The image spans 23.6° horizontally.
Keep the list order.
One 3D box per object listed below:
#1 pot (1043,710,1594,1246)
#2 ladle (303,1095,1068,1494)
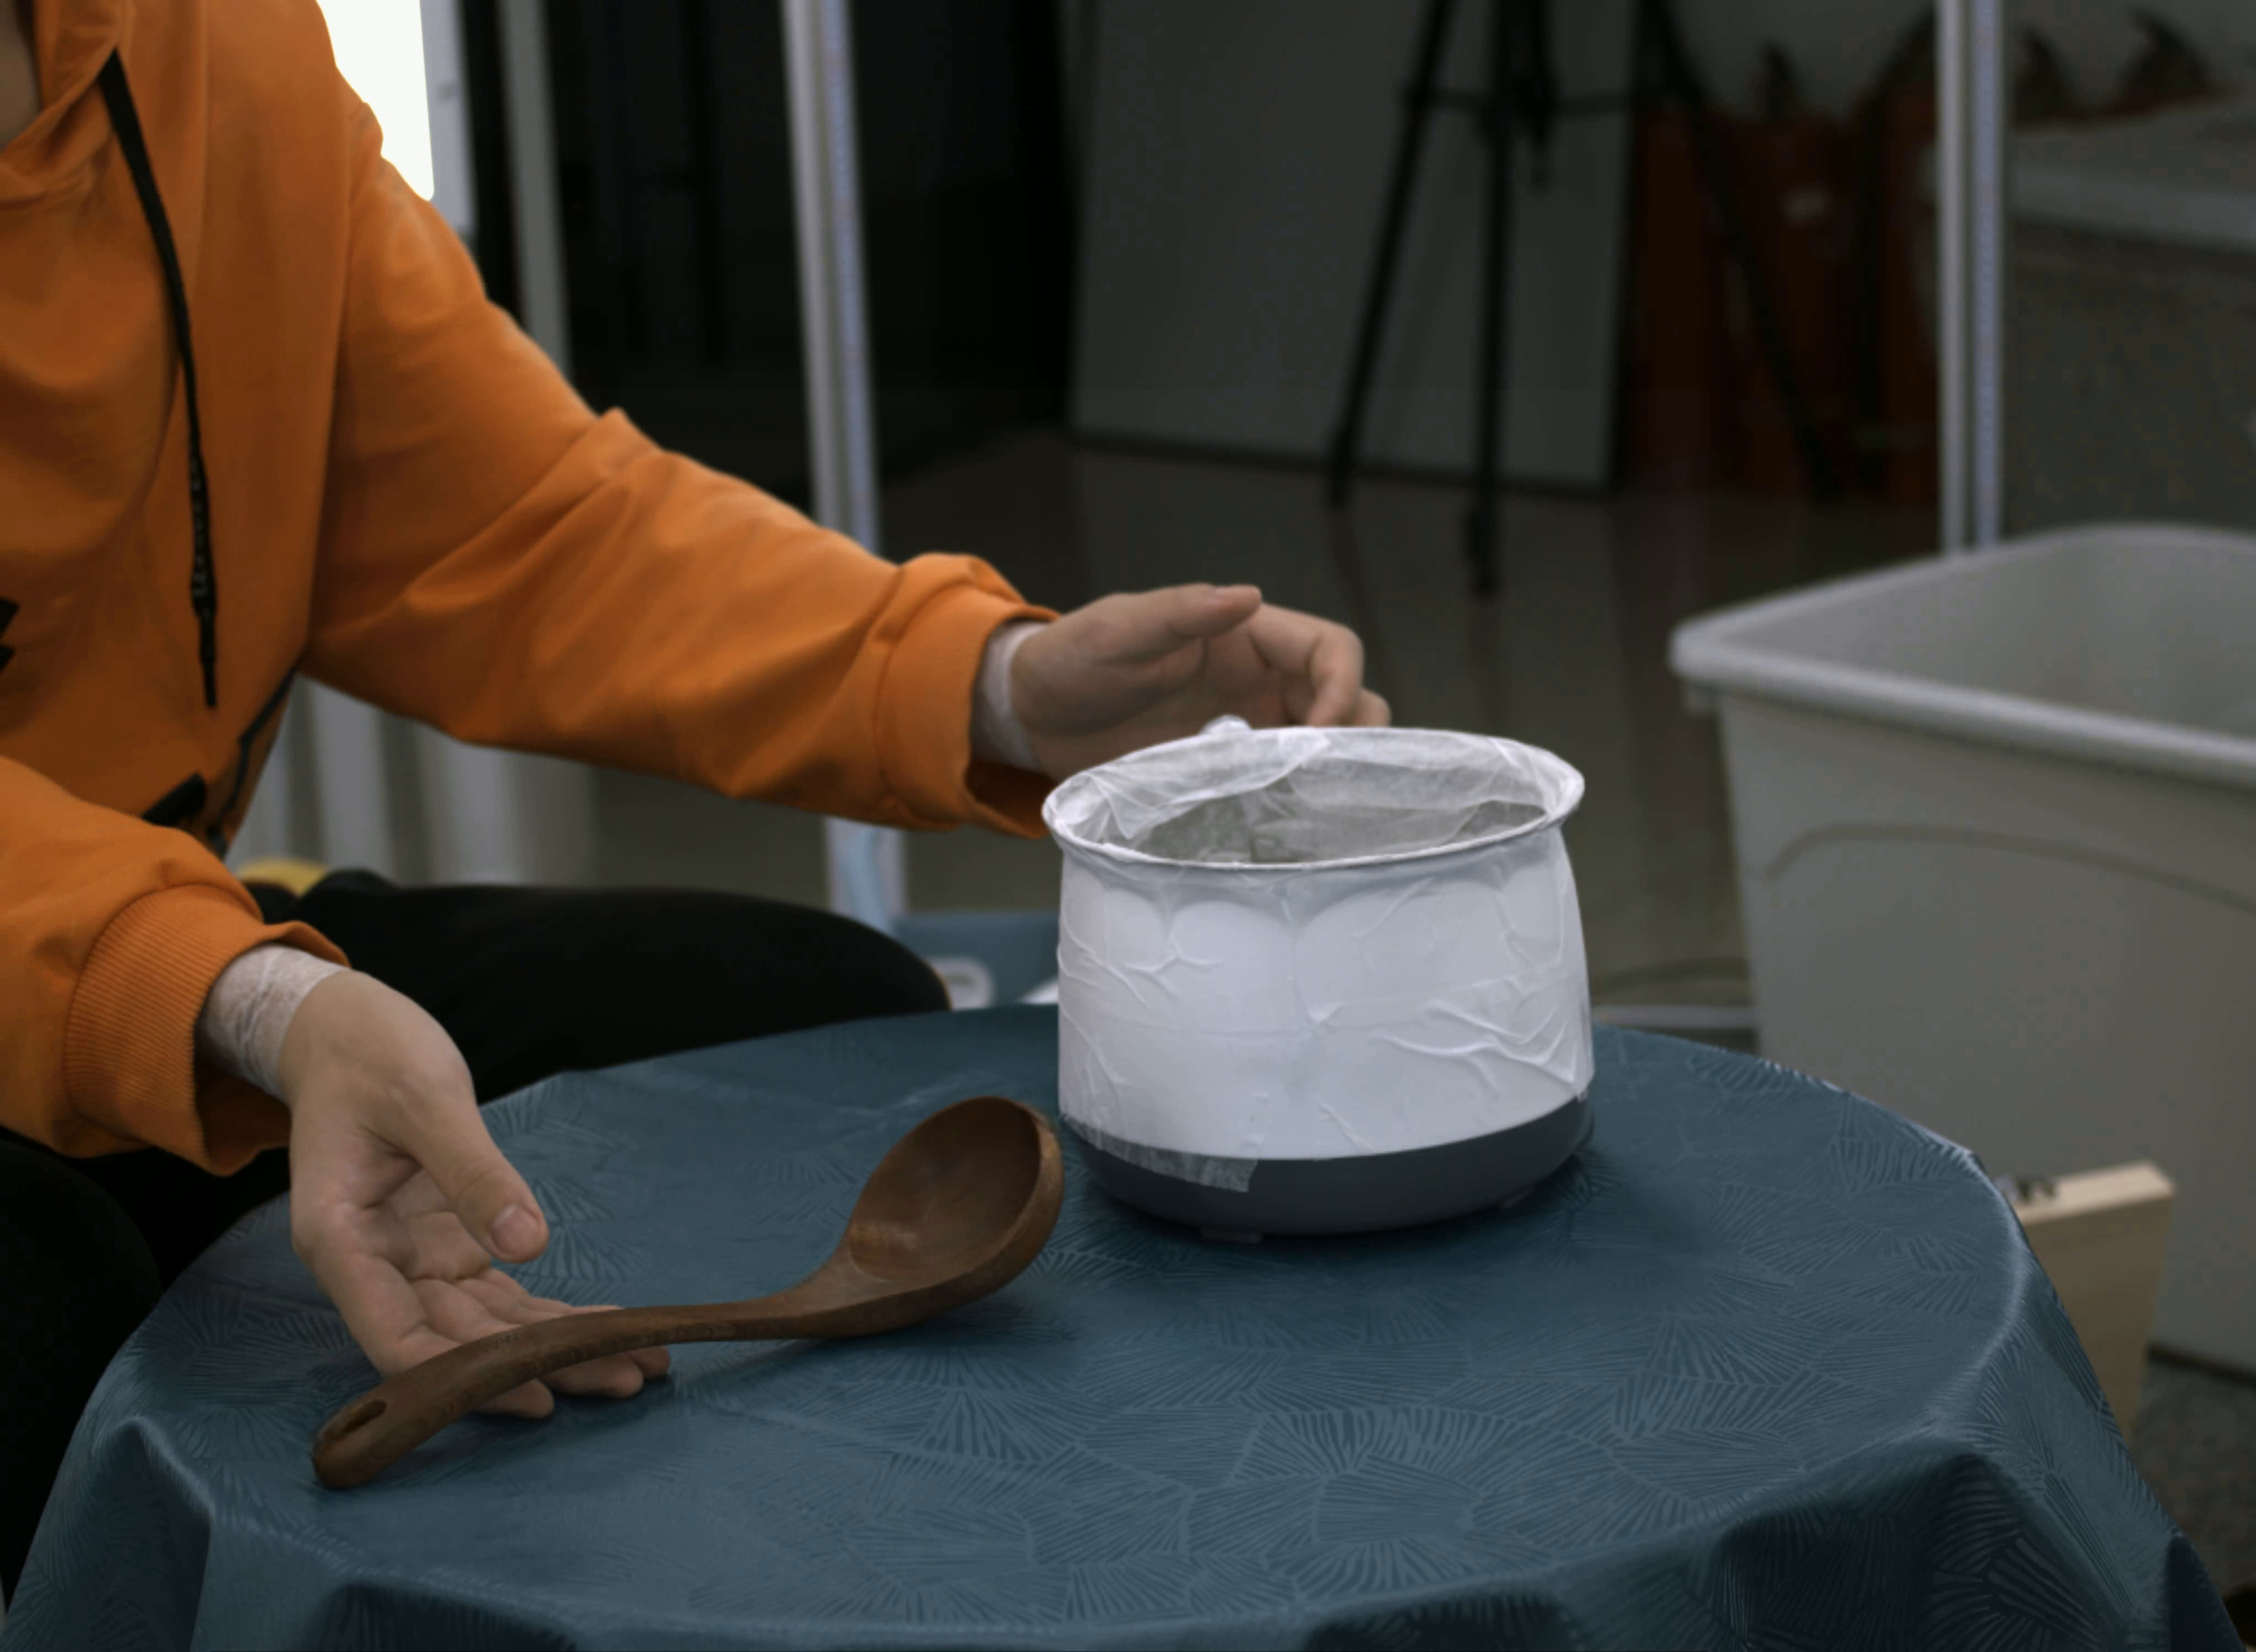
[{"bbox_3d":[0.055,0.044,1.779,0.175,0.138,0.235,-7,14,-15],"label":"pot"},{"bbox_3d":[-0.130,0.137,1.612,0.254,0.066,0.077,-12,13,-32],"label":"ladle"}]
